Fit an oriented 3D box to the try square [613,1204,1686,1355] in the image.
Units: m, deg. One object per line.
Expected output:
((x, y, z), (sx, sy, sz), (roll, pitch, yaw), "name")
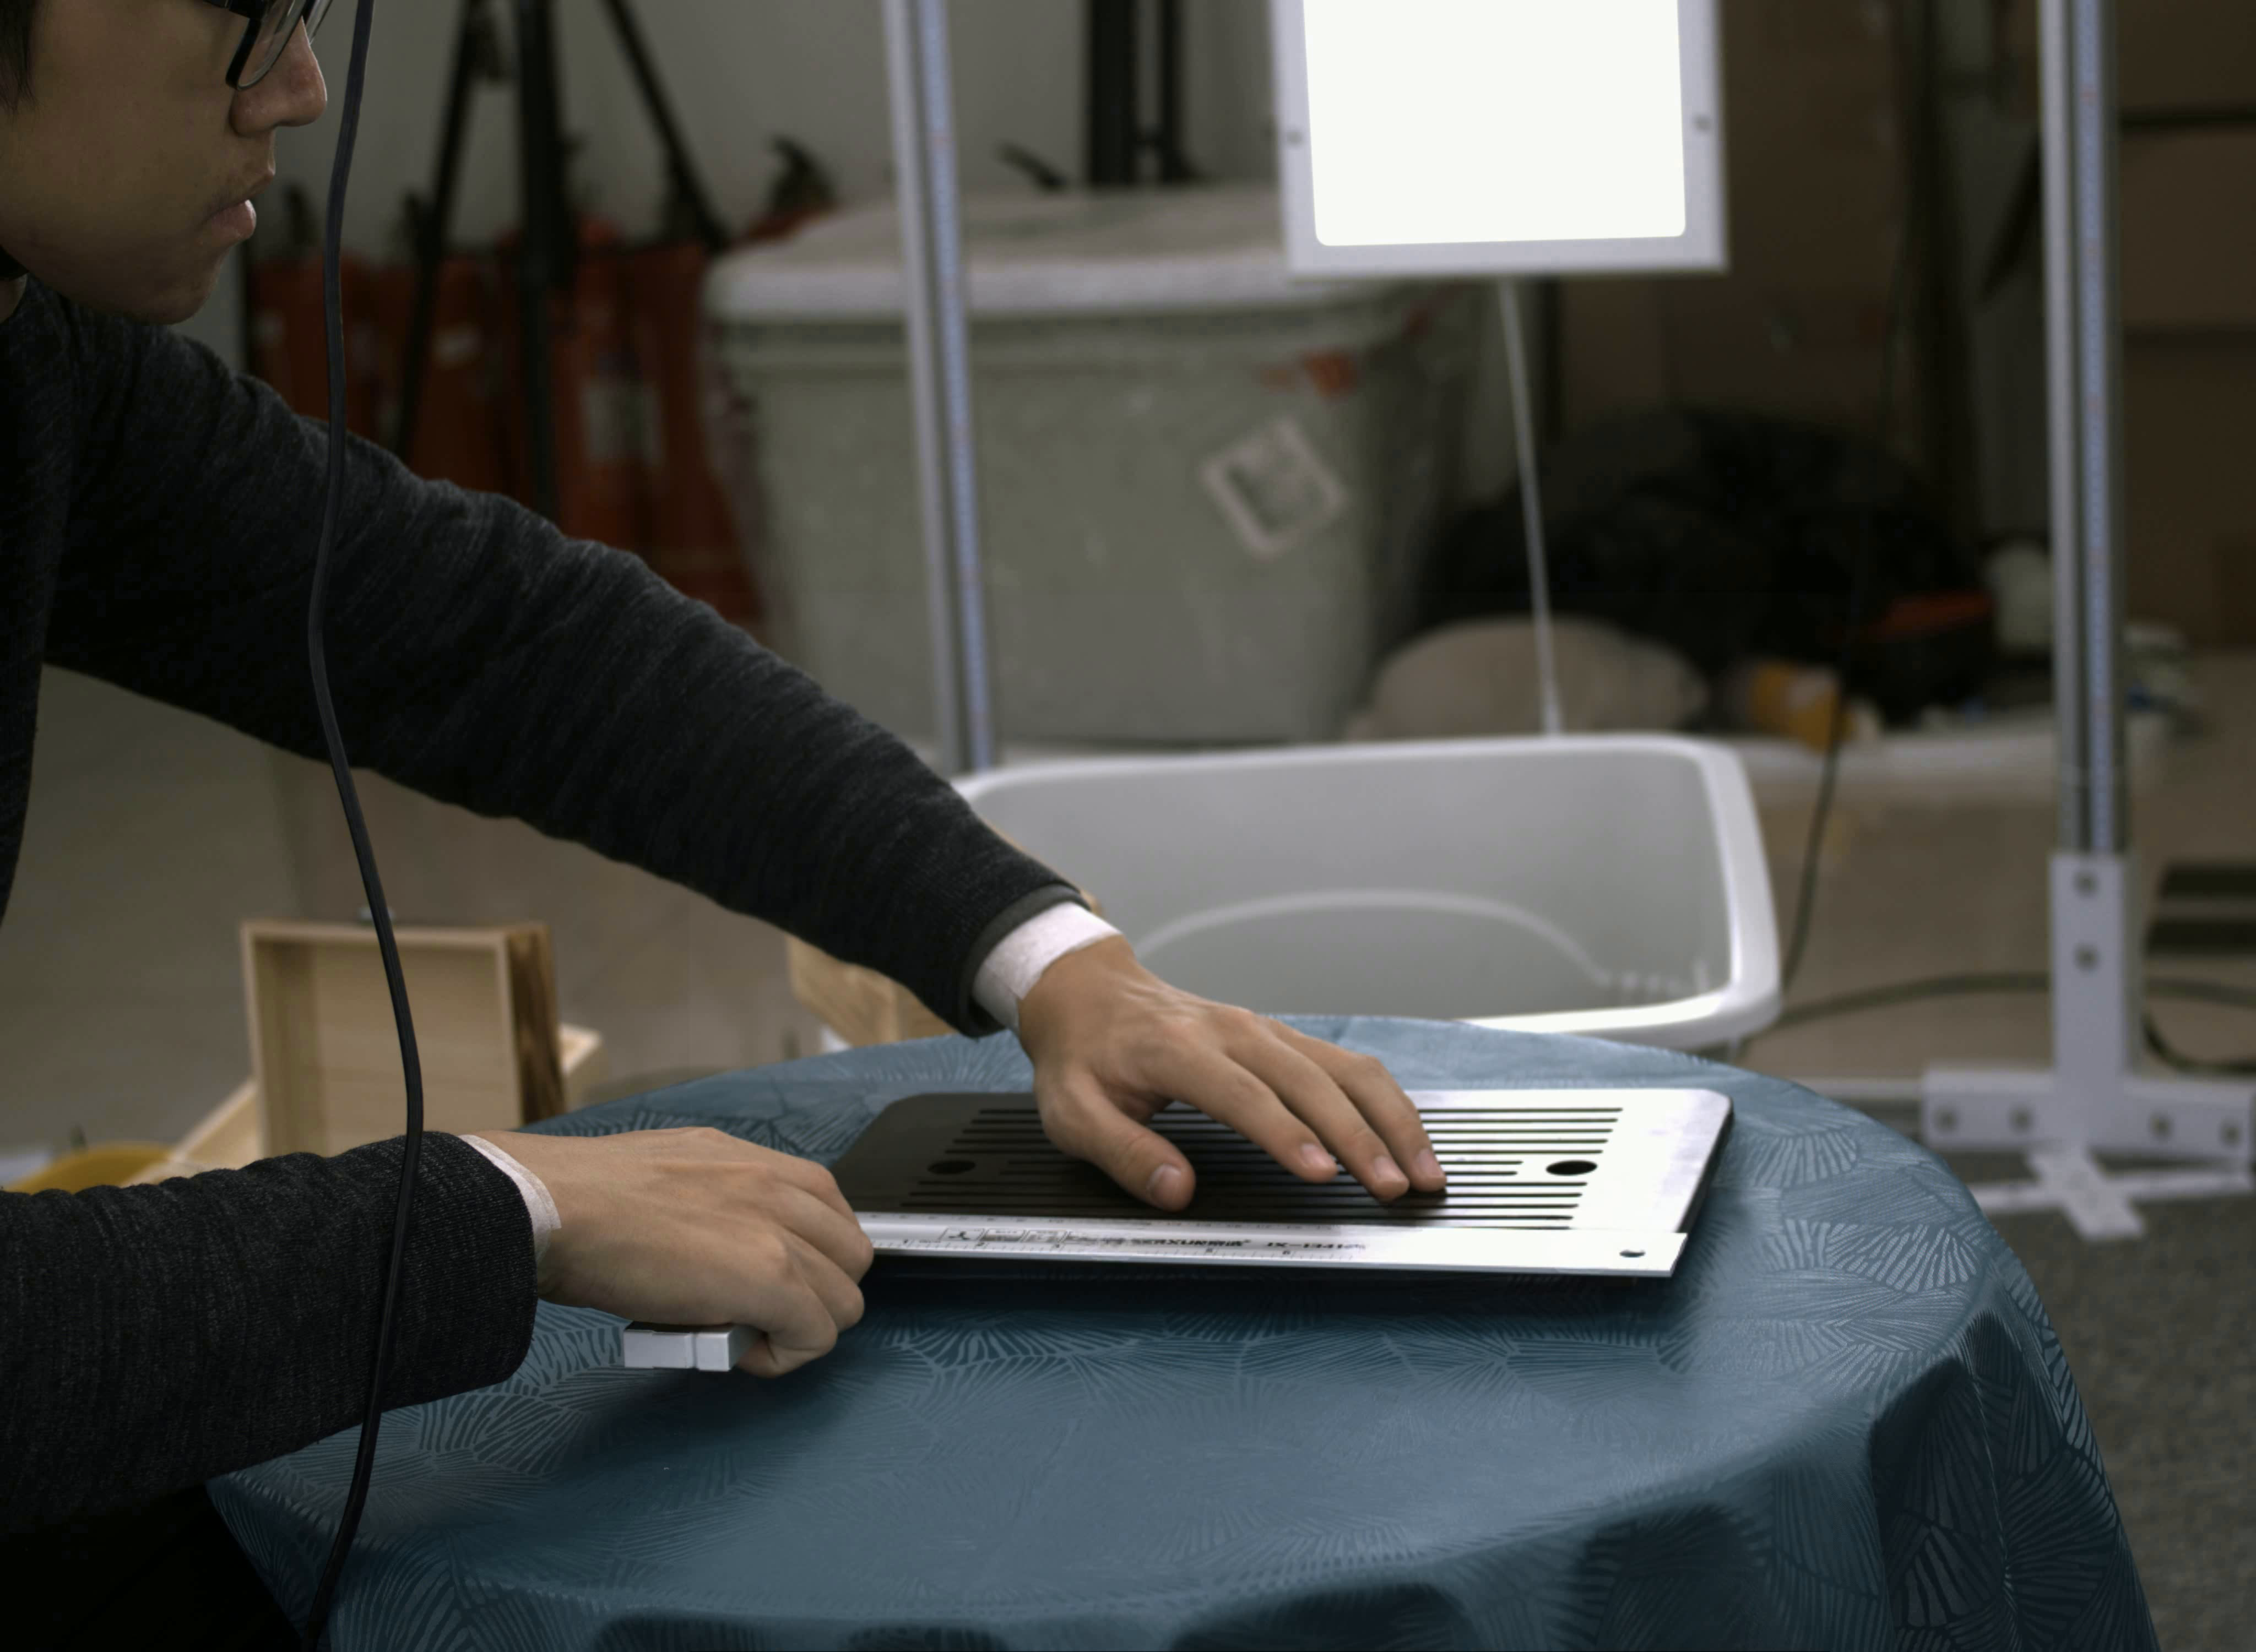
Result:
((0.009, 0.143, 1.721), (0.316, 0.016, 0.150), (0, 11, 16), "try square")

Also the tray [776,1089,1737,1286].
((0.046, 0.121, 1.864), (0.309, 0.019, 0.168), (-1, 15, 16), "tray")
